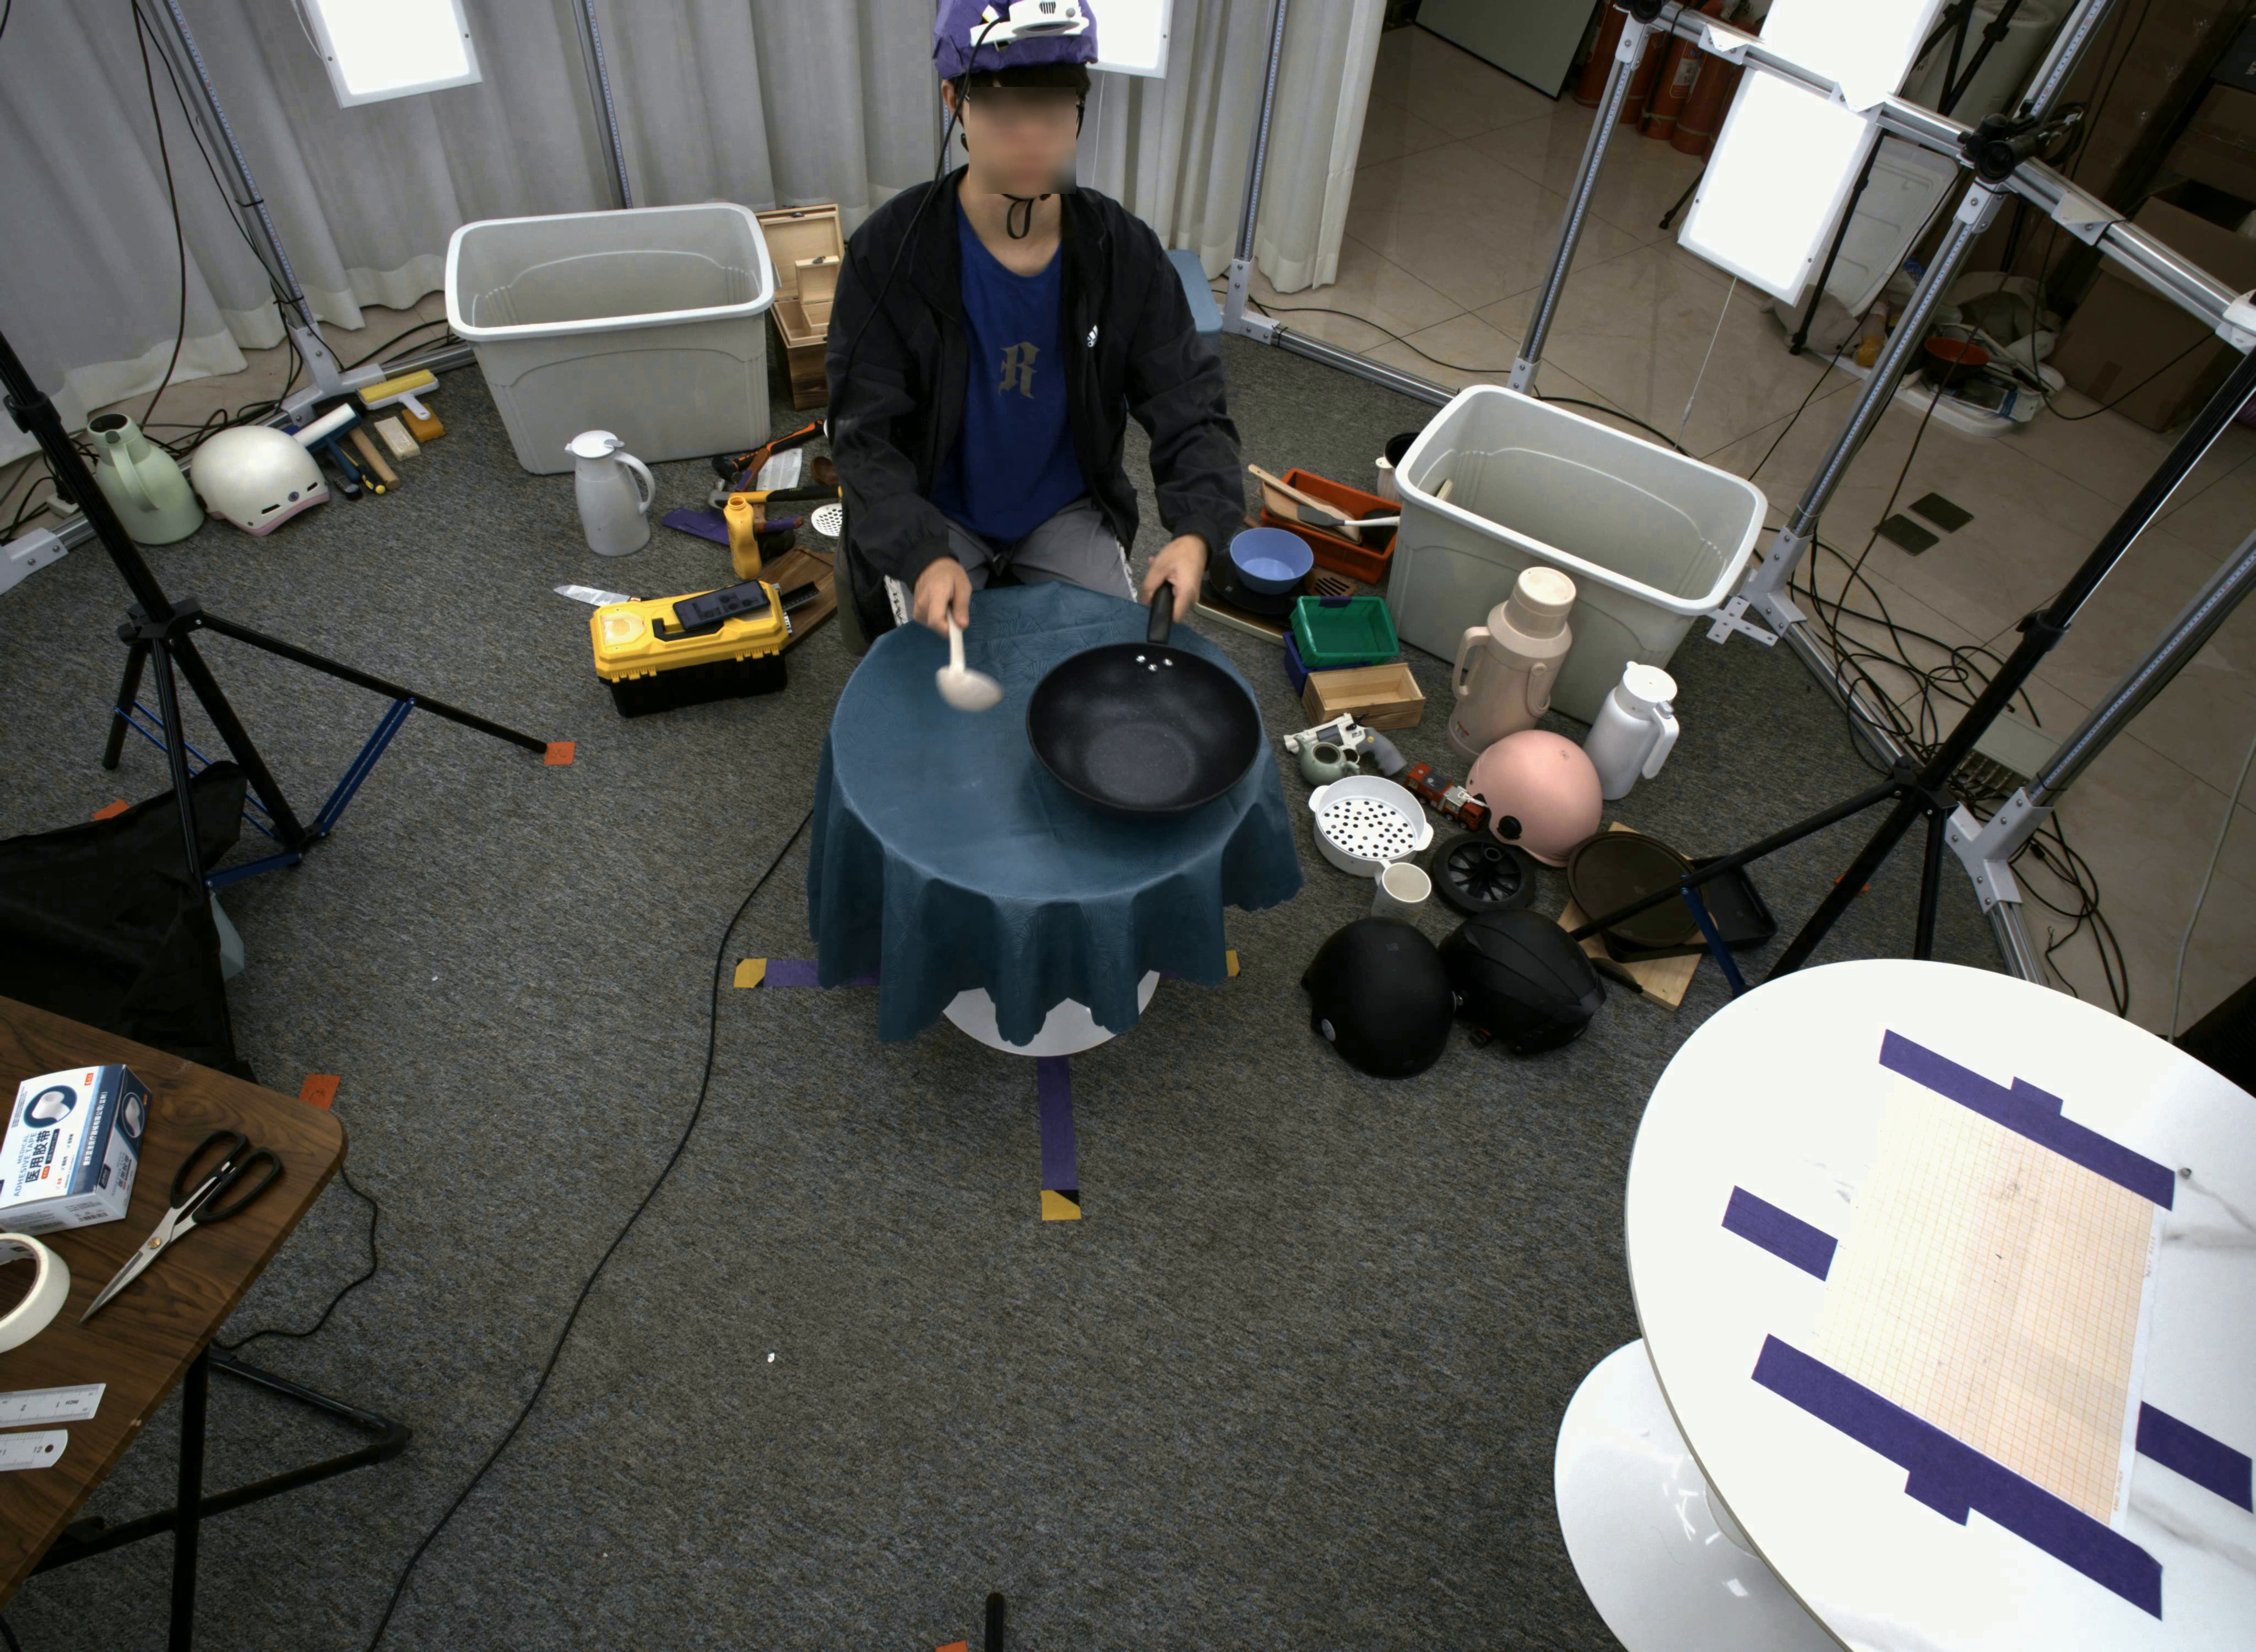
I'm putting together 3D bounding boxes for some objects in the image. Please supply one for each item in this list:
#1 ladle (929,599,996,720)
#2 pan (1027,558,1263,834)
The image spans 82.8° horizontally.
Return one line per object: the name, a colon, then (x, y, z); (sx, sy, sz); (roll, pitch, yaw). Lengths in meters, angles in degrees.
ladle: (-0.218, -0.240, 1.692); (0.088, 0.068, 0.282); (23, 36, -26)
pan: (0.032, -0.172, 1.752); (0.310, 0.109, 0.488); (9, 50, 1)
